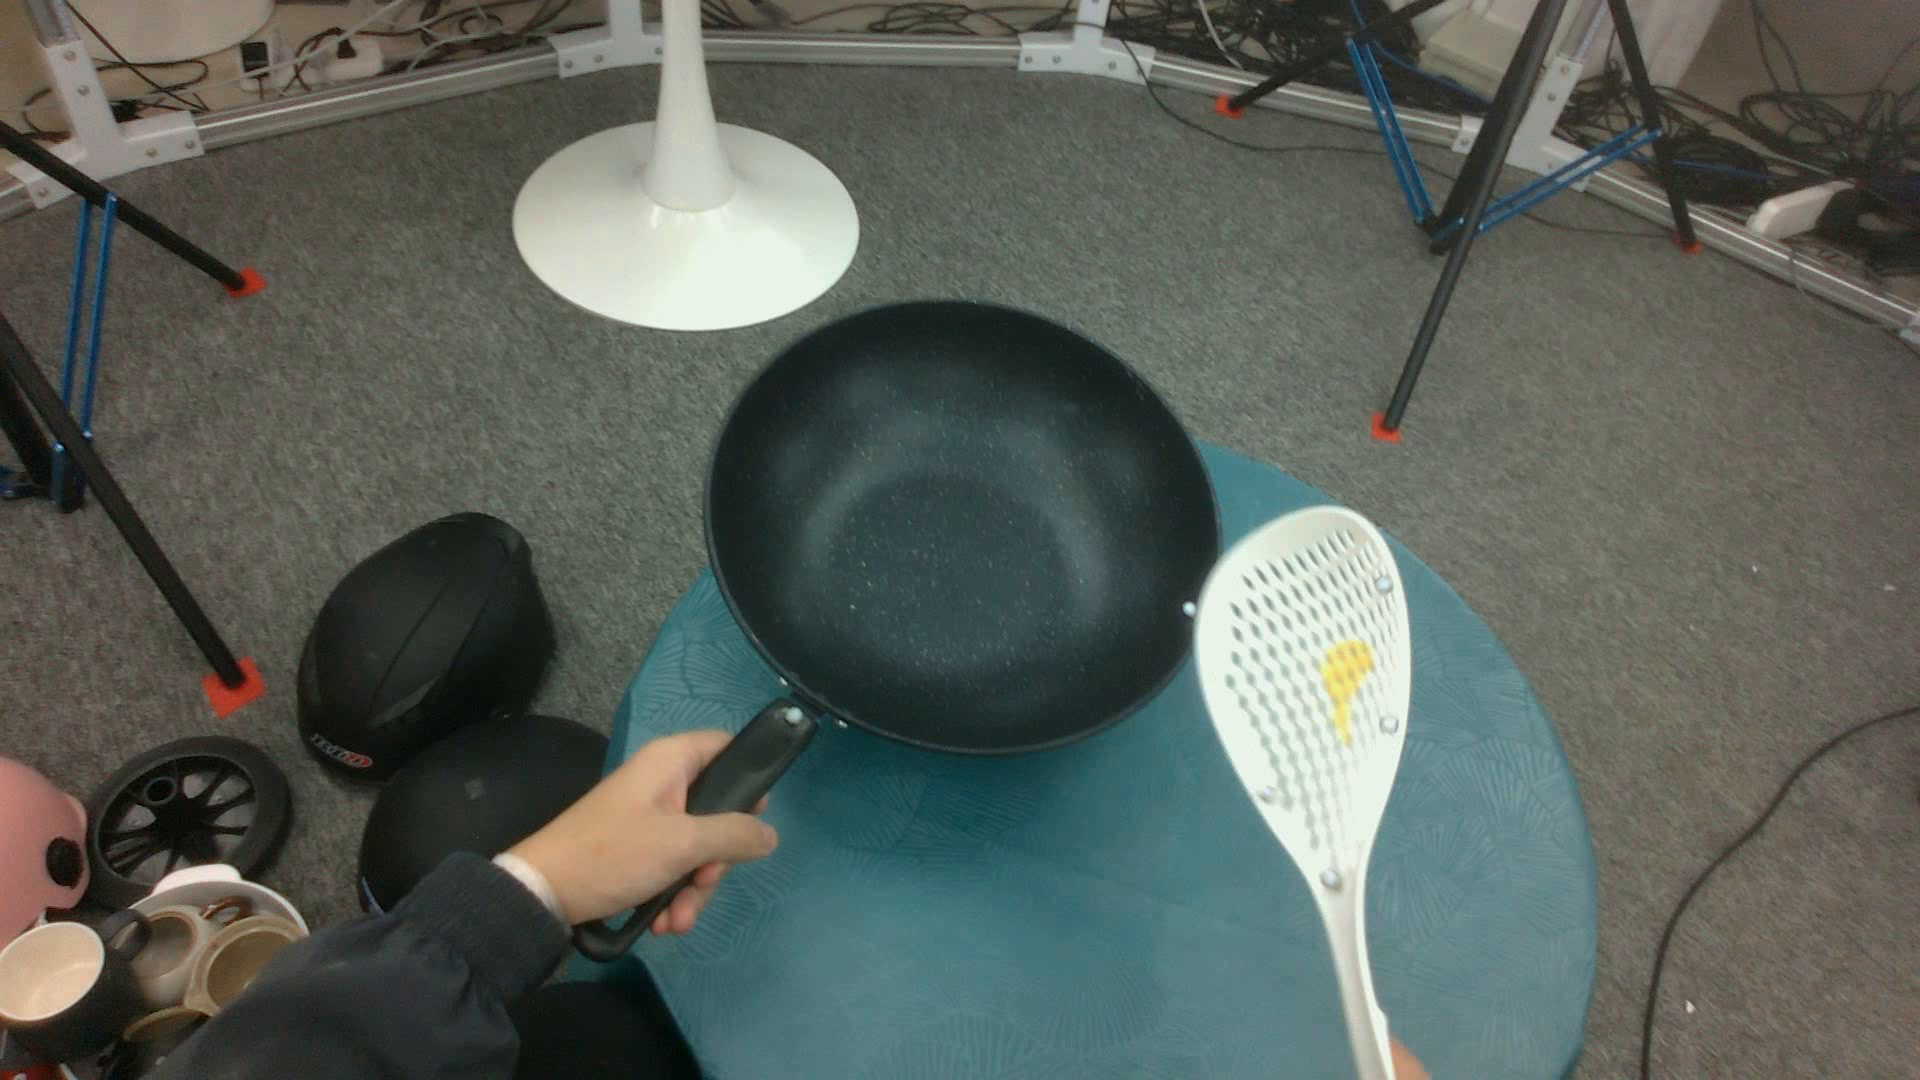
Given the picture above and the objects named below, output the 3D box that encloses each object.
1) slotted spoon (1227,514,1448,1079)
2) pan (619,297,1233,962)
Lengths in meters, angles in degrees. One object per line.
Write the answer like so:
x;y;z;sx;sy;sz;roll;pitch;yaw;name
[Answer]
0.198;0.155;0.637;0.050;0.136;0.349;5;63;-20;slotted spoon
-0.035;0.050;0.803;0.310;0.111;0.479;31;60;9;pan
